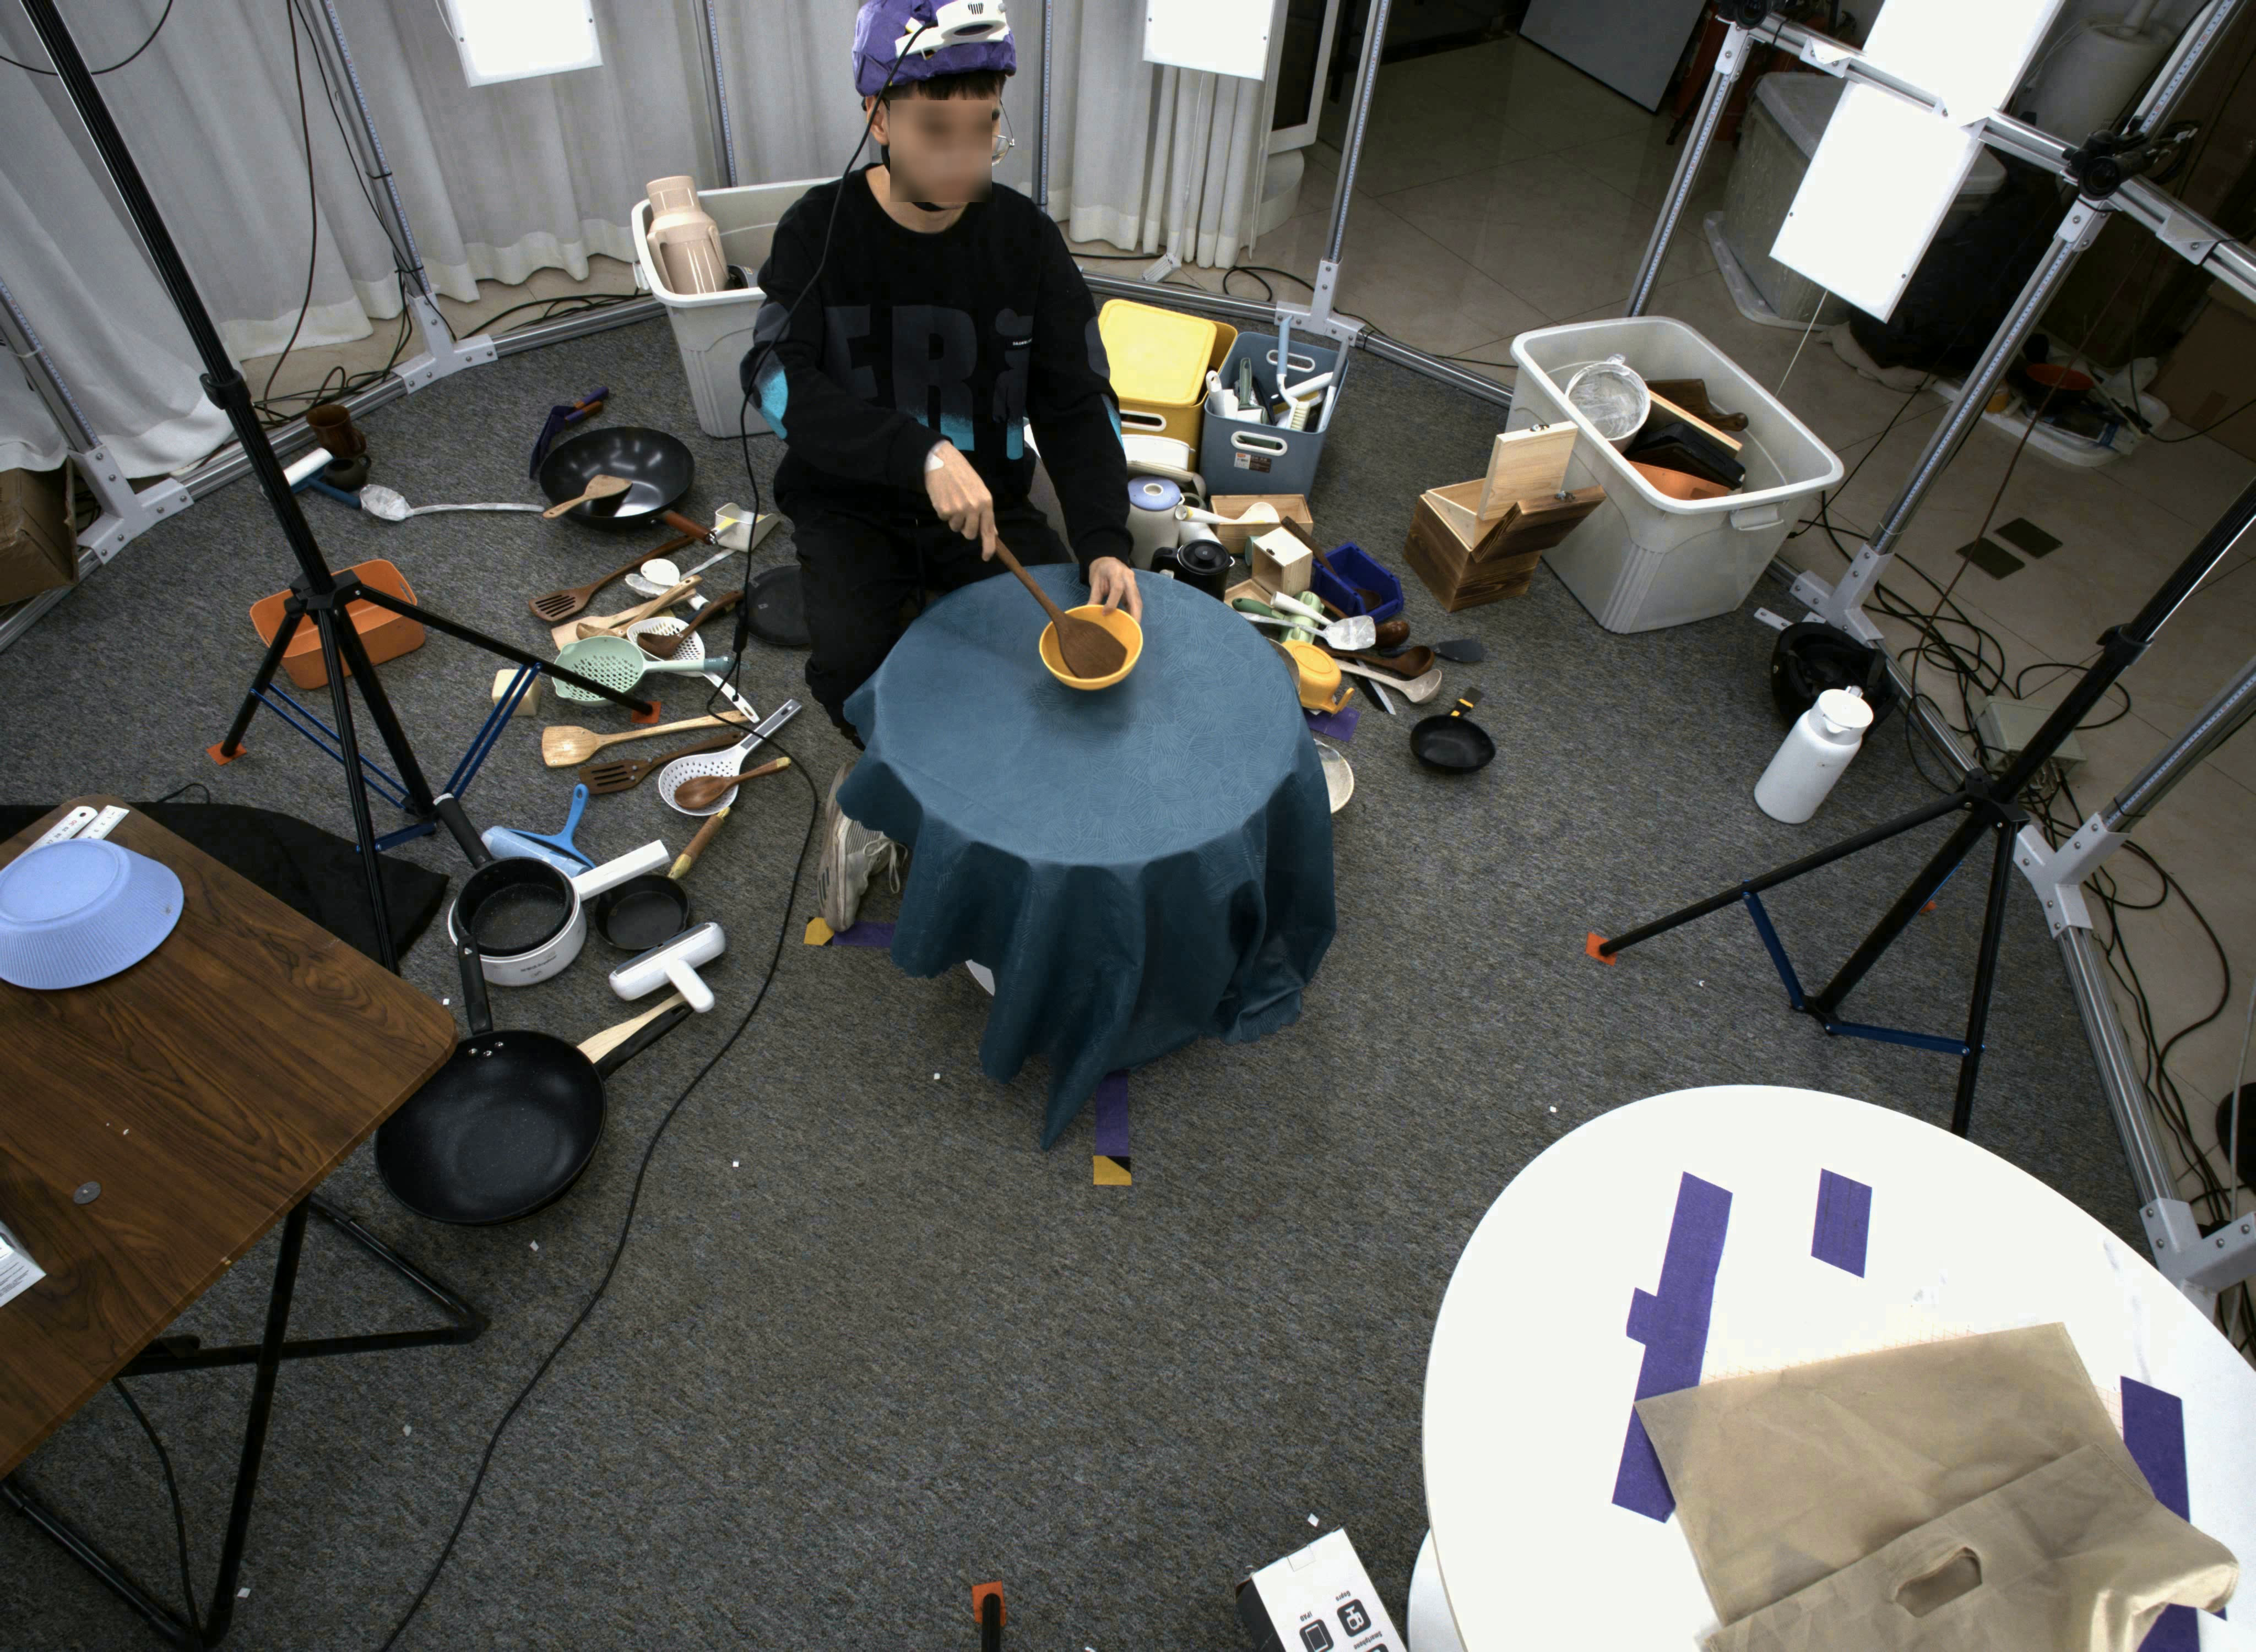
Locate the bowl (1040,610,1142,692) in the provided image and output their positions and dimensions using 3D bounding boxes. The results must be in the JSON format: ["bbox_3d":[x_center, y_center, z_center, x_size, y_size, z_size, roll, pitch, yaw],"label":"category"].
[{"bbox_3d":[-0.051,-0.237,1.827,0.145,0.058,0.149,-2,50,2],"label":"bowl"}]

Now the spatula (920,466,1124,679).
[{"bbox_3d":[-0.149,-0.348,1.787,0.382,0.015,0.097,47,56,-12],"label":"spatula"}]
